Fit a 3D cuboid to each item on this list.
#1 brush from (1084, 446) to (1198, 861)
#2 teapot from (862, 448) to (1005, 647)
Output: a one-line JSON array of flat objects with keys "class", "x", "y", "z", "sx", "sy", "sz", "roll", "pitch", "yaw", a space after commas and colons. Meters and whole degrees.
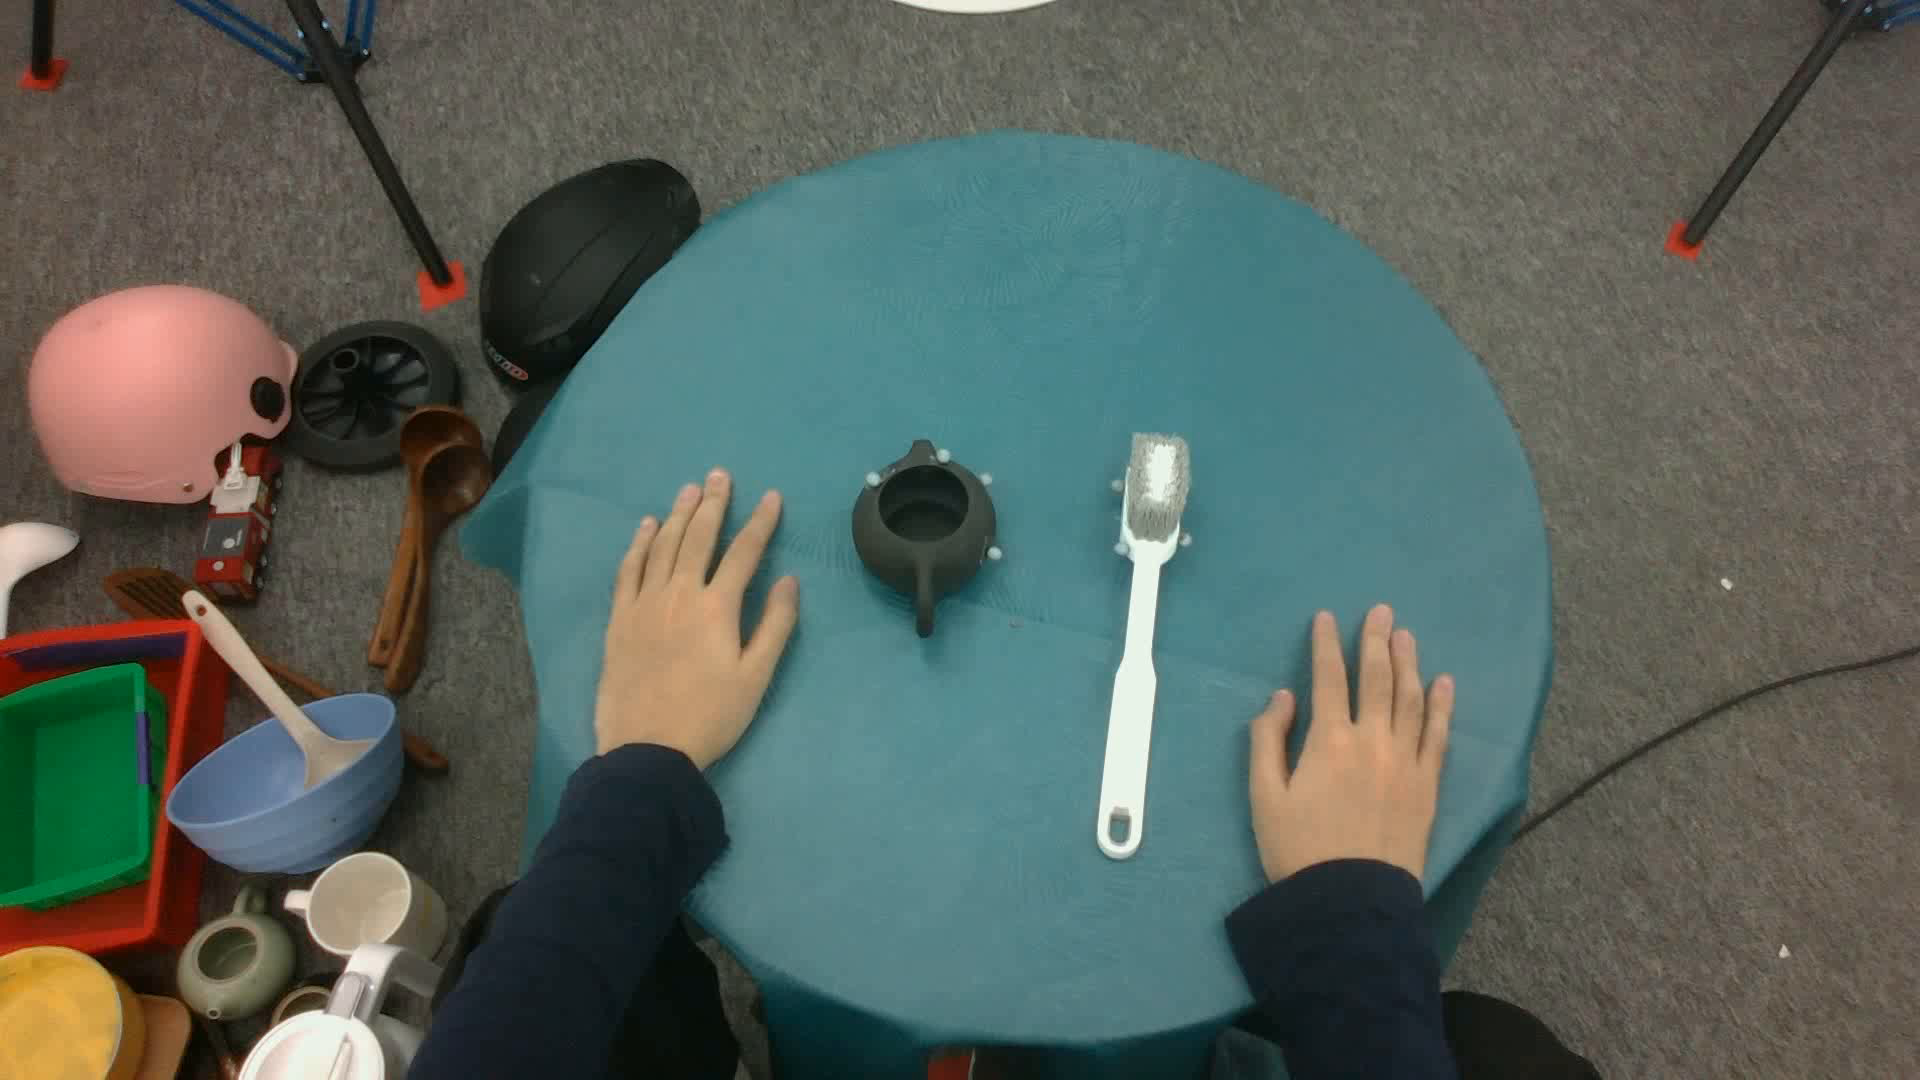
[{"class": "brush", "x": 0.101, "y": 0.054, "z": 0.763, "sx": 0.034, "sy": 0.050, "sz": 0.244, "roll": 12, "pitch": 62, "yaw": 2}, {"class": "teapot", "x": -0.015, "y": 0.006, "z": 0.787, "sx": 0.083, "sy": 0.053, "sz": 0.114, "roll": 0, "pitch": 61, "yaw": -1}]
